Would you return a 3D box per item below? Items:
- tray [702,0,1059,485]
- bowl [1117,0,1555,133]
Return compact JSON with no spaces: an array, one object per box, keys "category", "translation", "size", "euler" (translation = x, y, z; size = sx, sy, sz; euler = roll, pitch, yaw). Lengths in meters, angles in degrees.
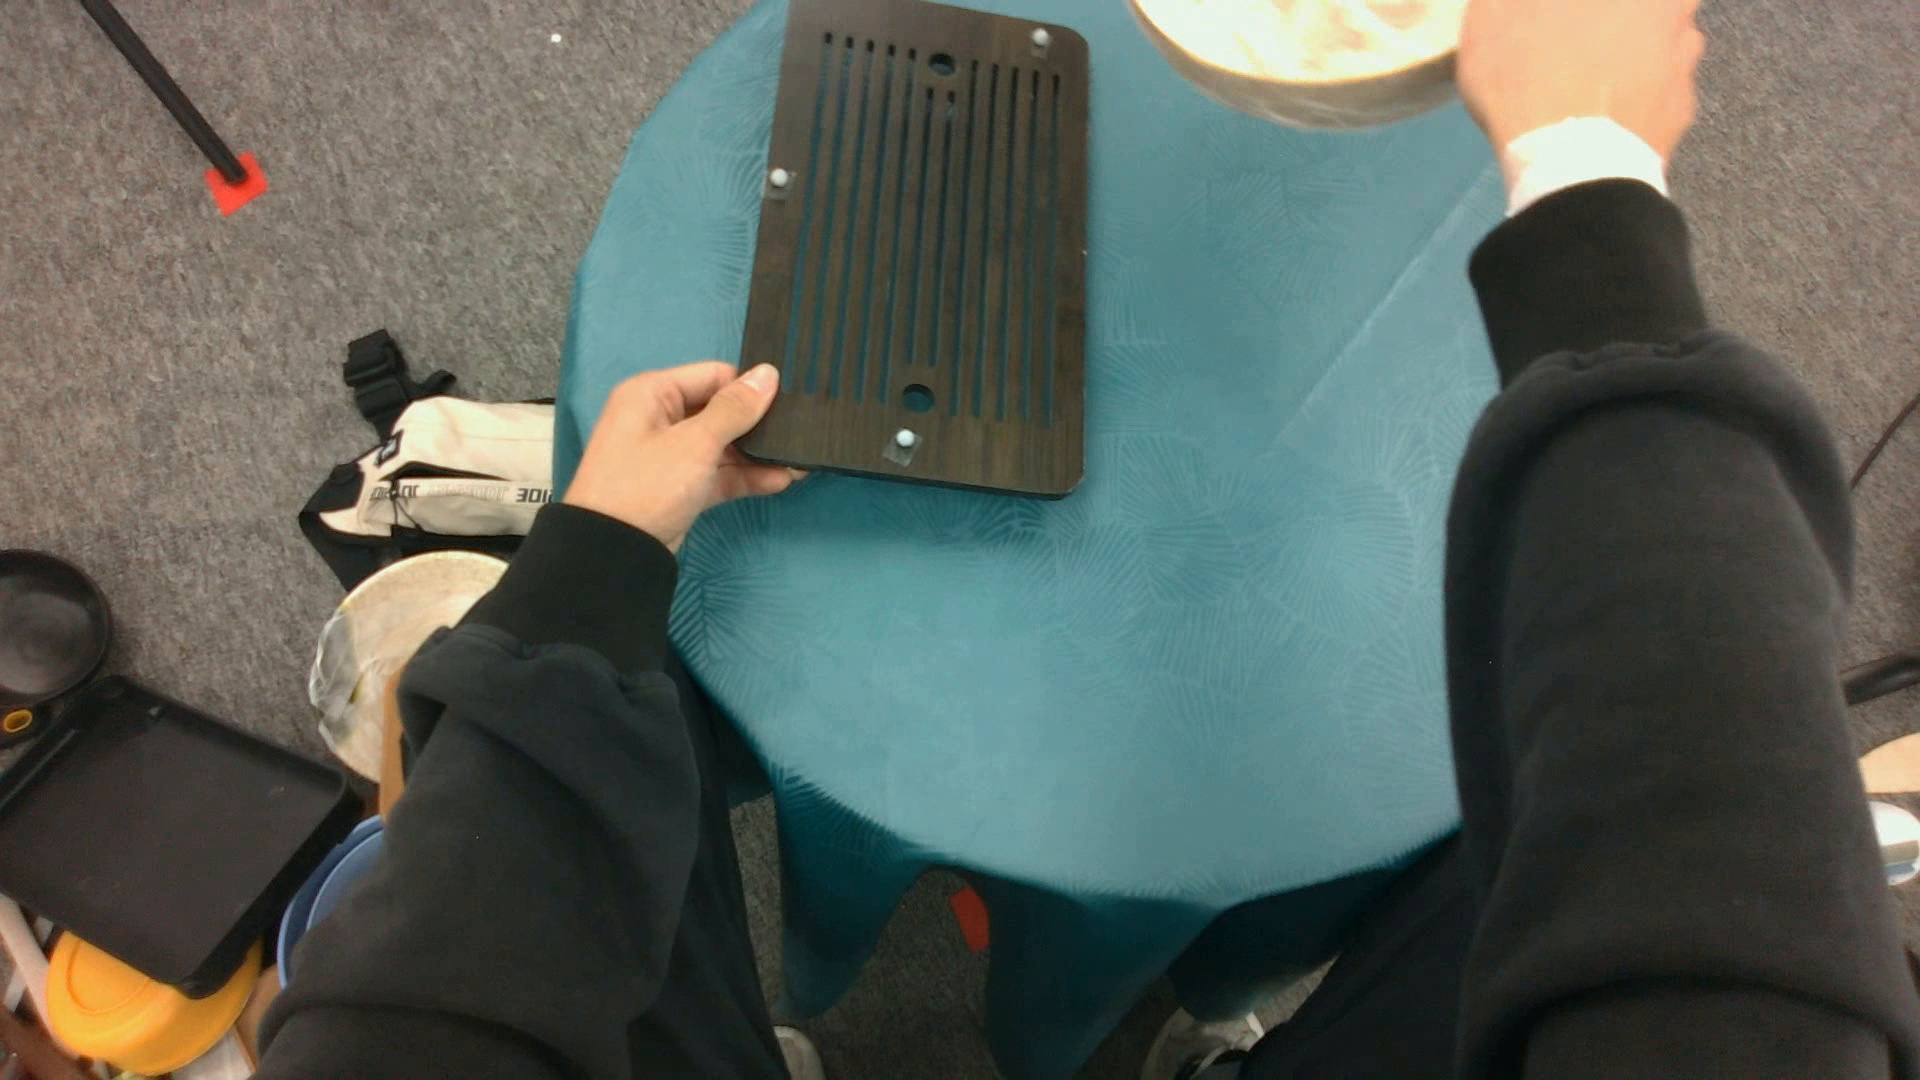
[{"category":"tray","translation":[-0.033,-0.169,0.714],"size":[0.170,0.018,0.307],"euler":[7,63,-9]},{"category":"bowl","translation":[0.169,-0.255,0.602],"size":[0.214,0.094,0.215],"euler":[-7,70,19]}]
